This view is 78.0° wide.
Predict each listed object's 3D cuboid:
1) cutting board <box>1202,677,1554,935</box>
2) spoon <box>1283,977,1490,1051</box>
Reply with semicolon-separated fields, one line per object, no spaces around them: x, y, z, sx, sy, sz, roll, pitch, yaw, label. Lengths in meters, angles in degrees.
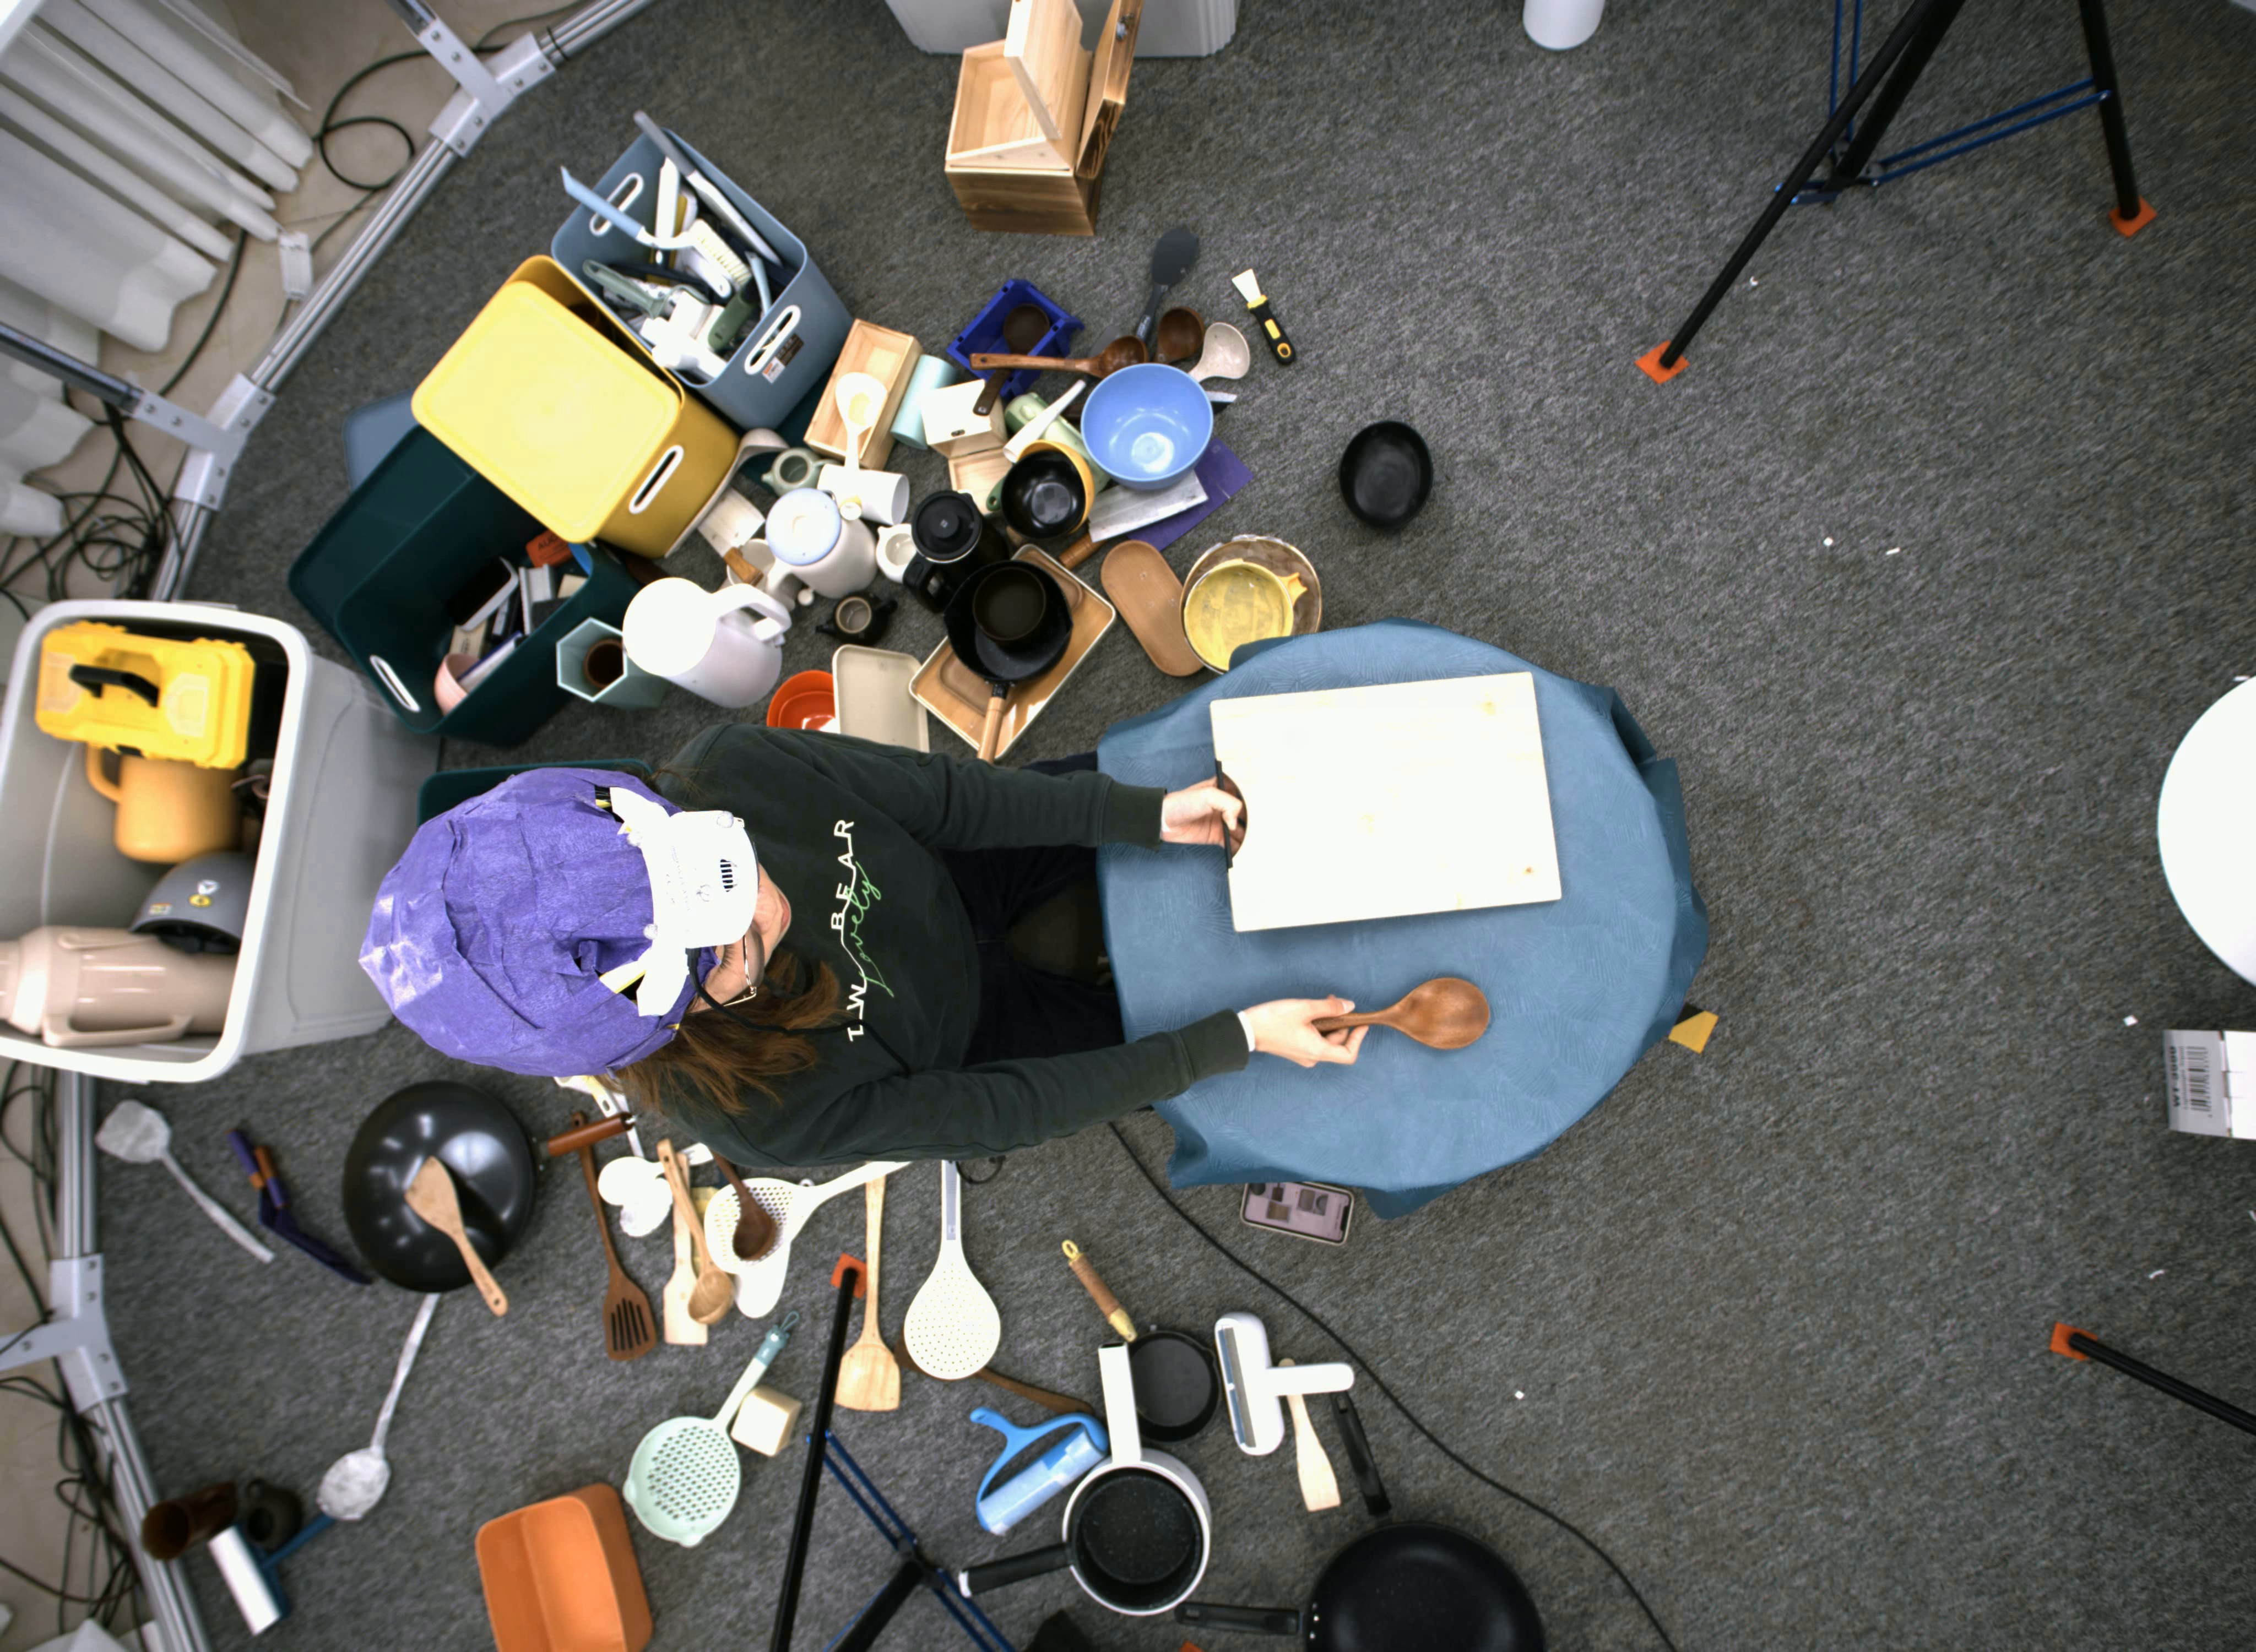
0.261;-0.024;1.430;0.349;0.024;0.249;-6;85;-1;cutting board
0.266;0.197;1.424;0.216;0.017;0.075;-4;87;-3;spoon
